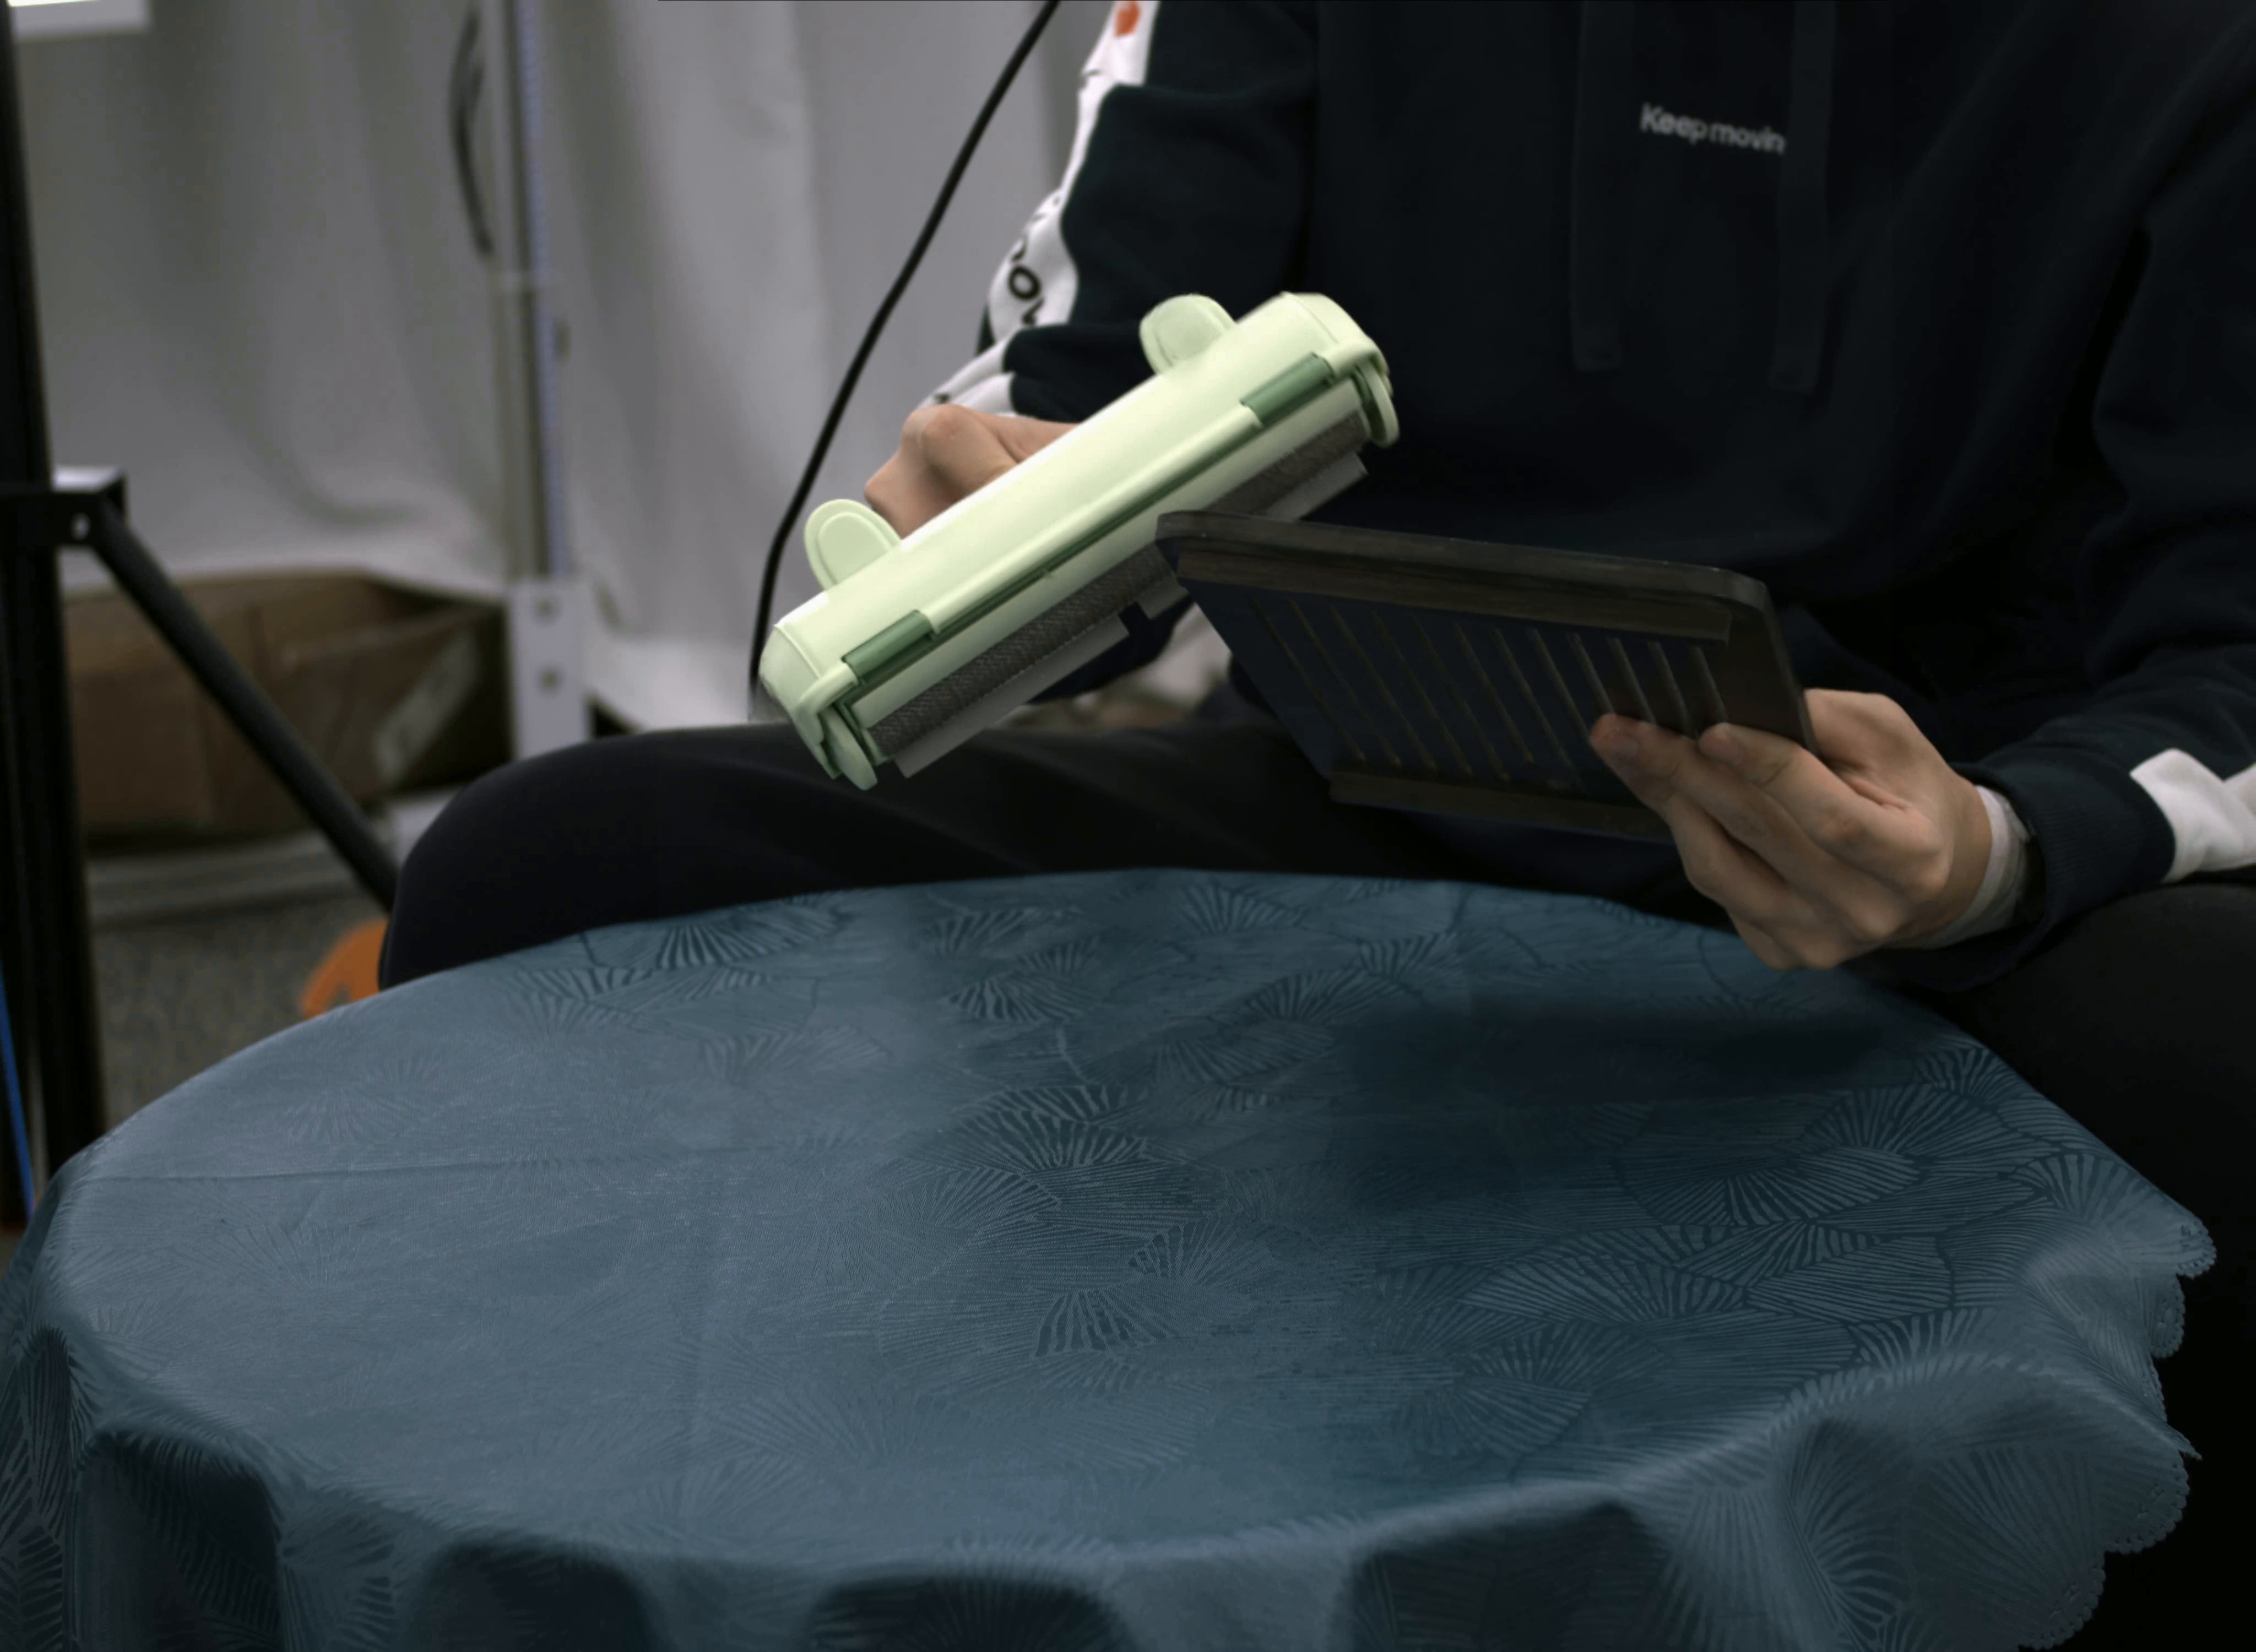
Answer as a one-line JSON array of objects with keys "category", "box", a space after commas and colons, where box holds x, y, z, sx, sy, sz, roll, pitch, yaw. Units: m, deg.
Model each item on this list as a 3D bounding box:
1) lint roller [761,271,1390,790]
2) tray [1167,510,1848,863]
[{"category": "lint roller", "box": [-0.031, -0.097, 1.577, 0.197, 0.081, 0.185, -35, 14, -6]}, {"category": "tray", "box": [0.118, -0.035, 1.562, 0.171, 0.019, 0.302, 8, -12, 14]}]
